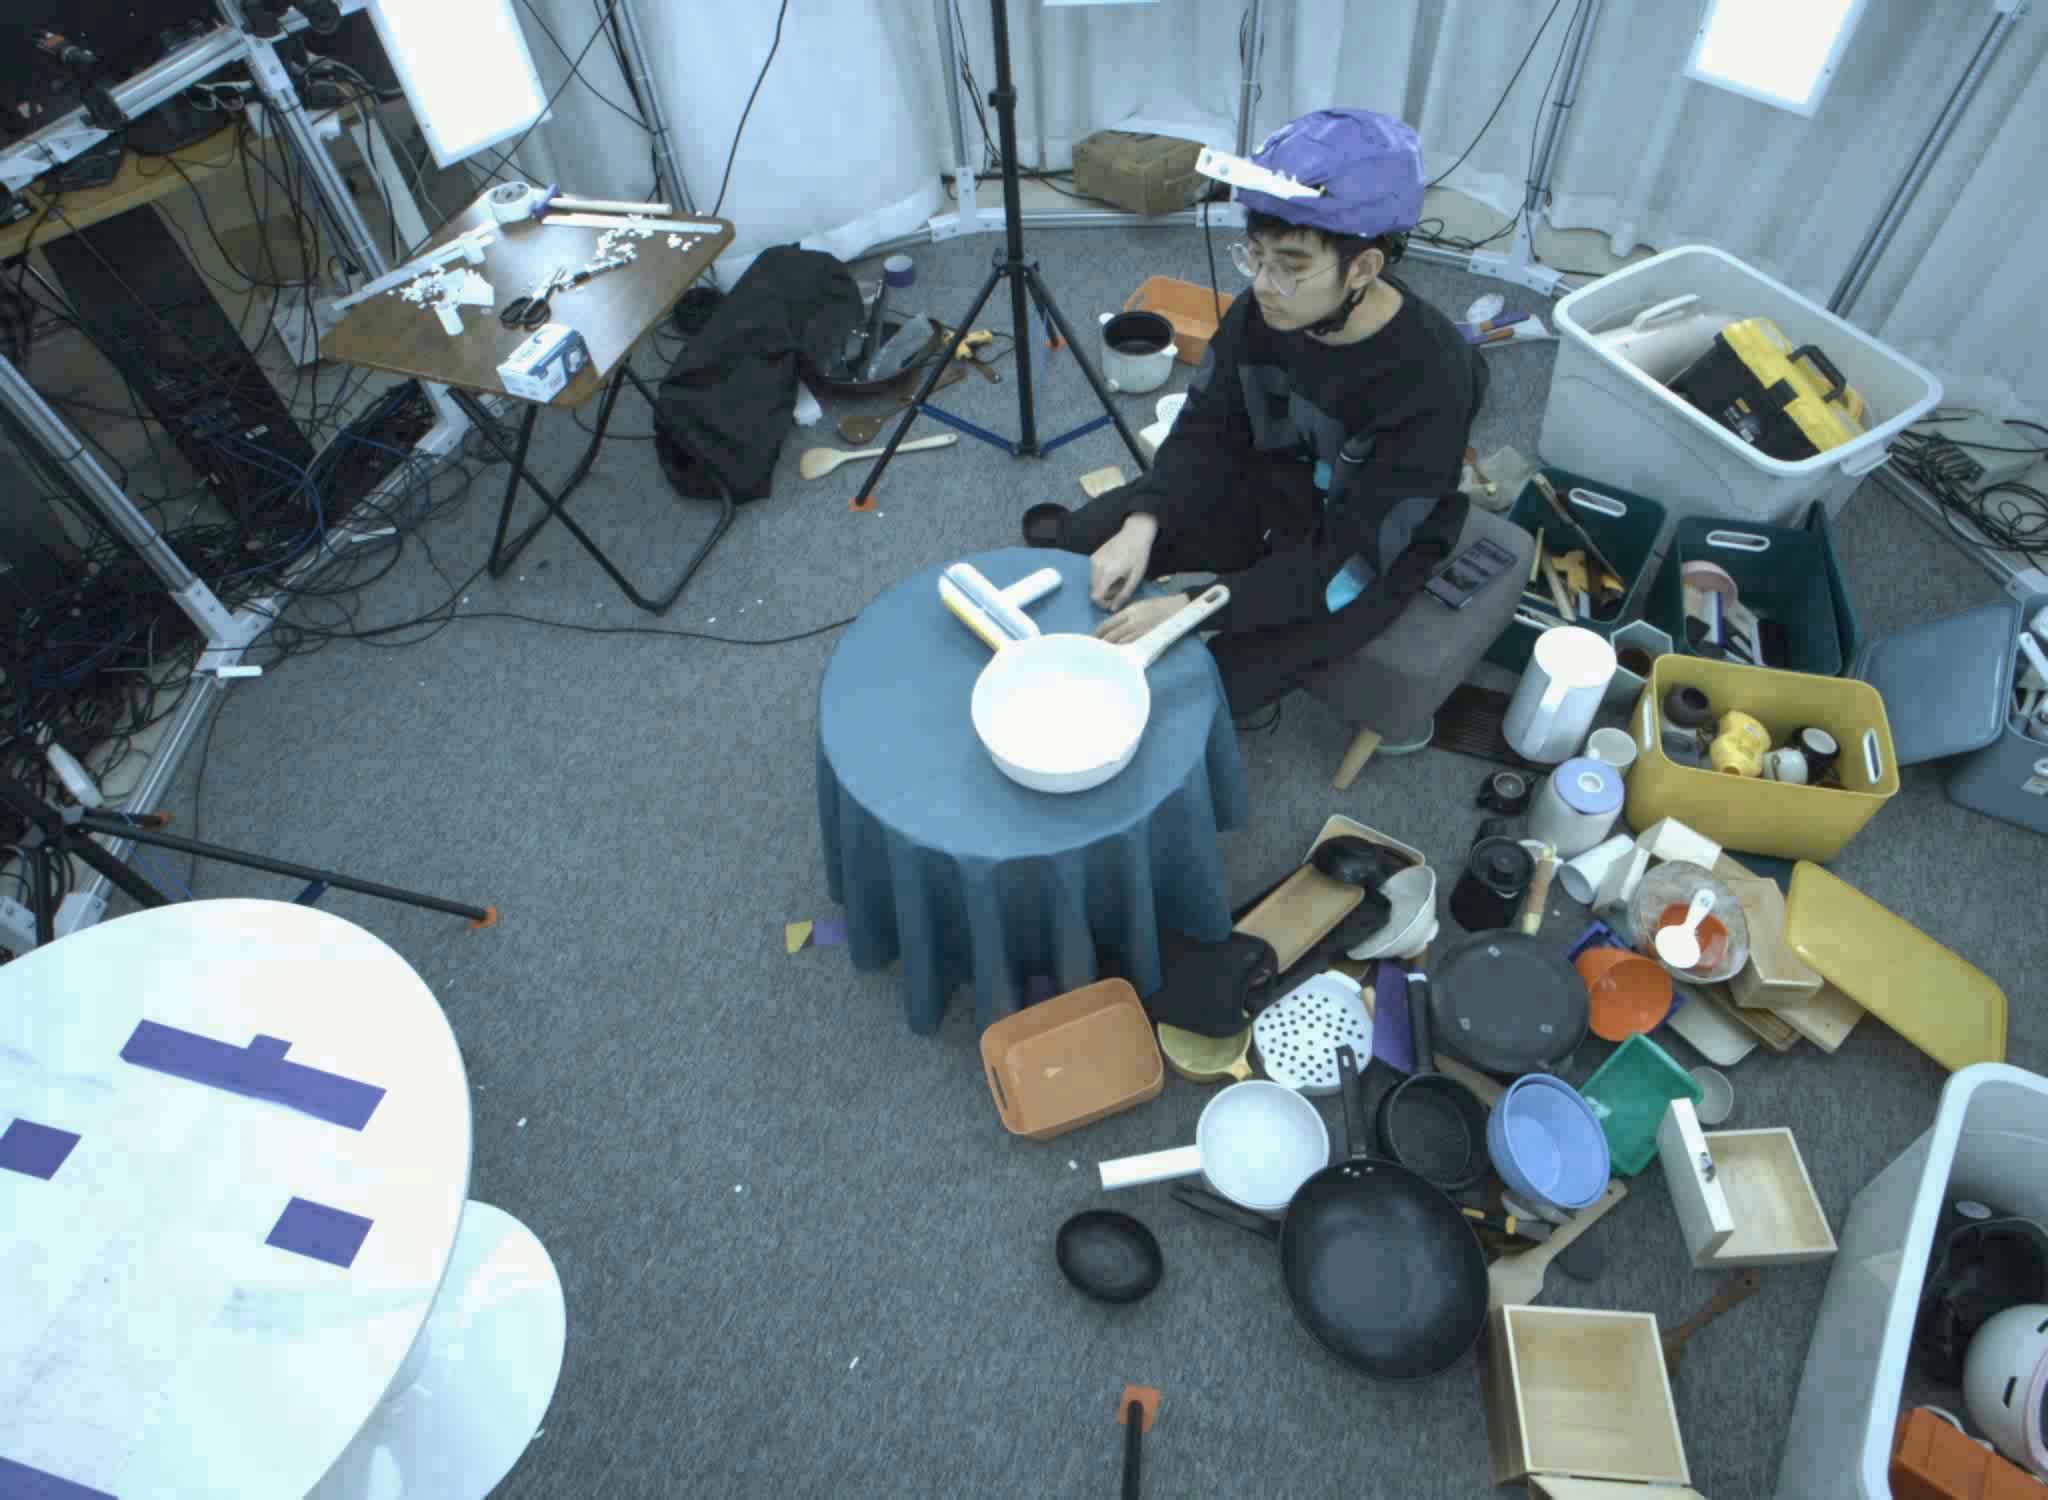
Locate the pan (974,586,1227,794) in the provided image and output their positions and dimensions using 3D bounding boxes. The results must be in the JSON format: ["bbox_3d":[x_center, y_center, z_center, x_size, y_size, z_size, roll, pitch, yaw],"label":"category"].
[{"bbox_3d":[0.130,-0.096,1.785,0.438,0.103,0.258,-33,57,-19],"label":"pan"}]

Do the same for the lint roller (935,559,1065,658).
[{"bbox_3d":[-0.015,-0.242,1.915,0.194,0.075,0.190,-35,66,-23],"label":"lint roller"}]
